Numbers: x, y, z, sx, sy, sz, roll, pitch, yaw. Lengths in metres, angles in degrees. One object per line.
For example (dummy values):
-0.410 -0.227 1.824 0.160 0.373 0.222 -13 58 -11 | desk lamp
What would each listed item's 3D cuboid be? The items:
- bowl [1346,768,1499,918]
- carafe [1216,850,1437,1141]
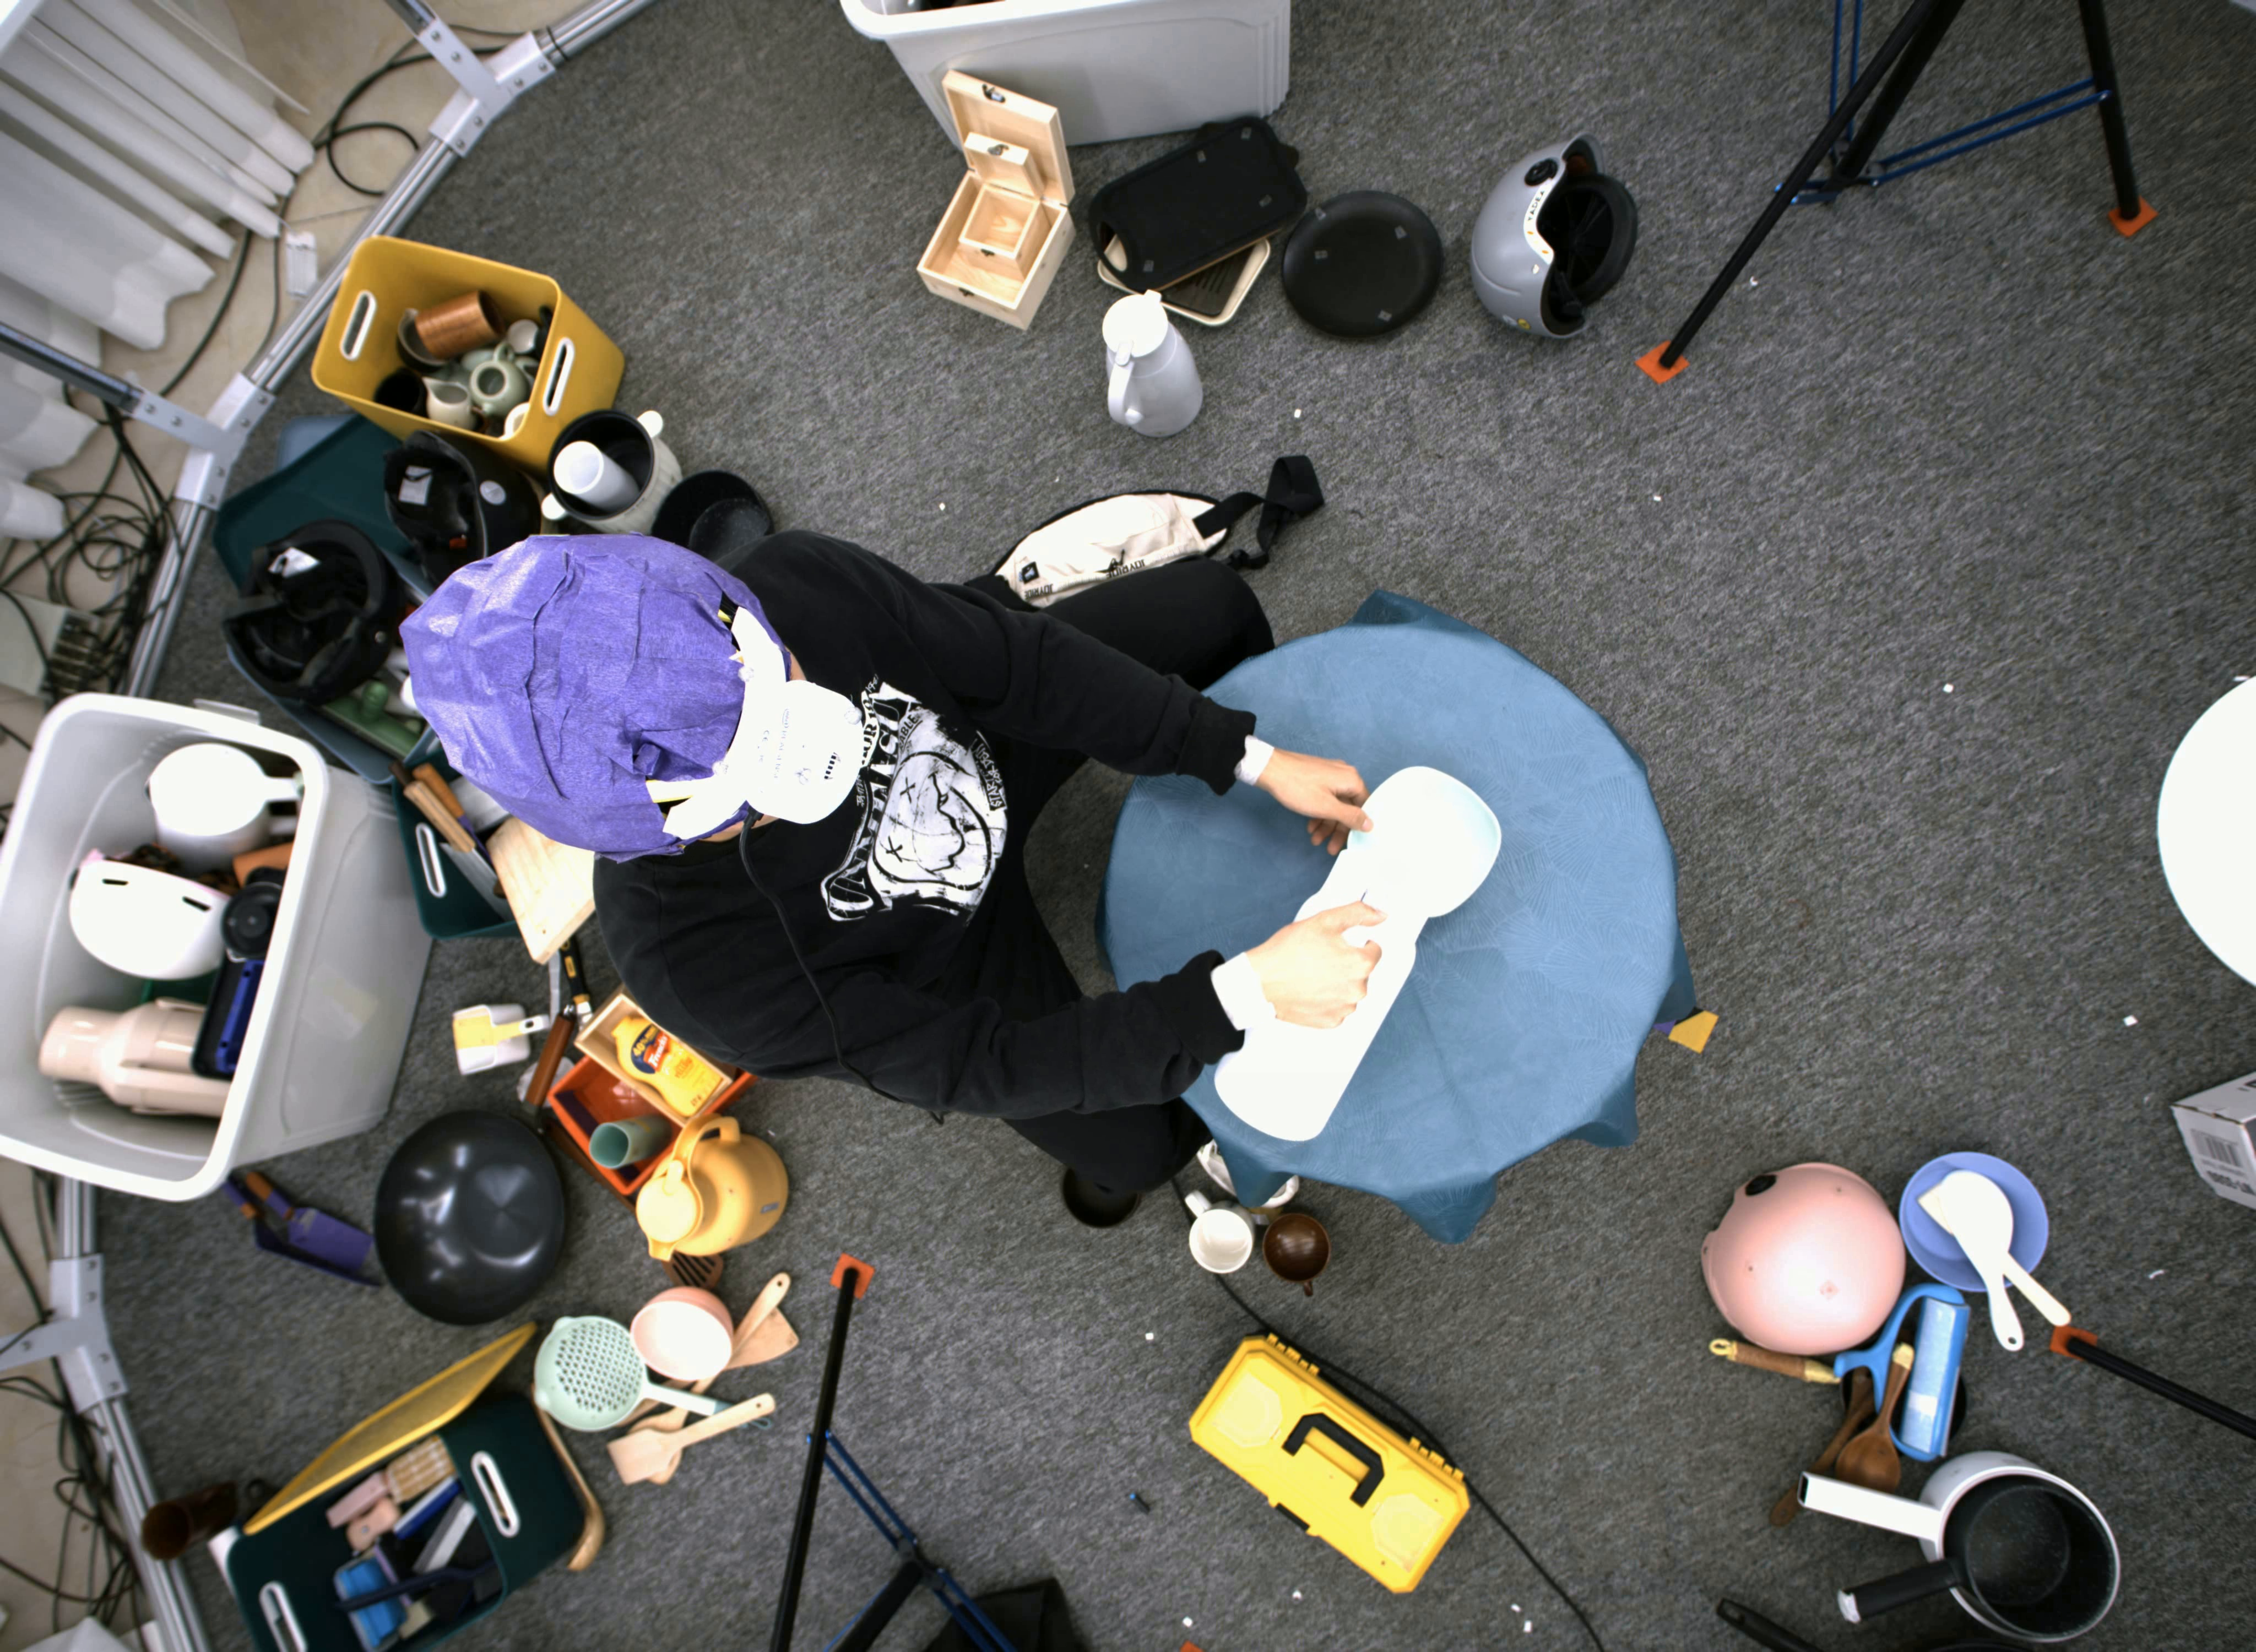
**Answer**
0.296 0.018 1.397 0.152 0.059 0.150 -1 85 9 | bowl
0.182 0.163 1.295 0.123 0.170 0.273 31 111 11 | carafe
